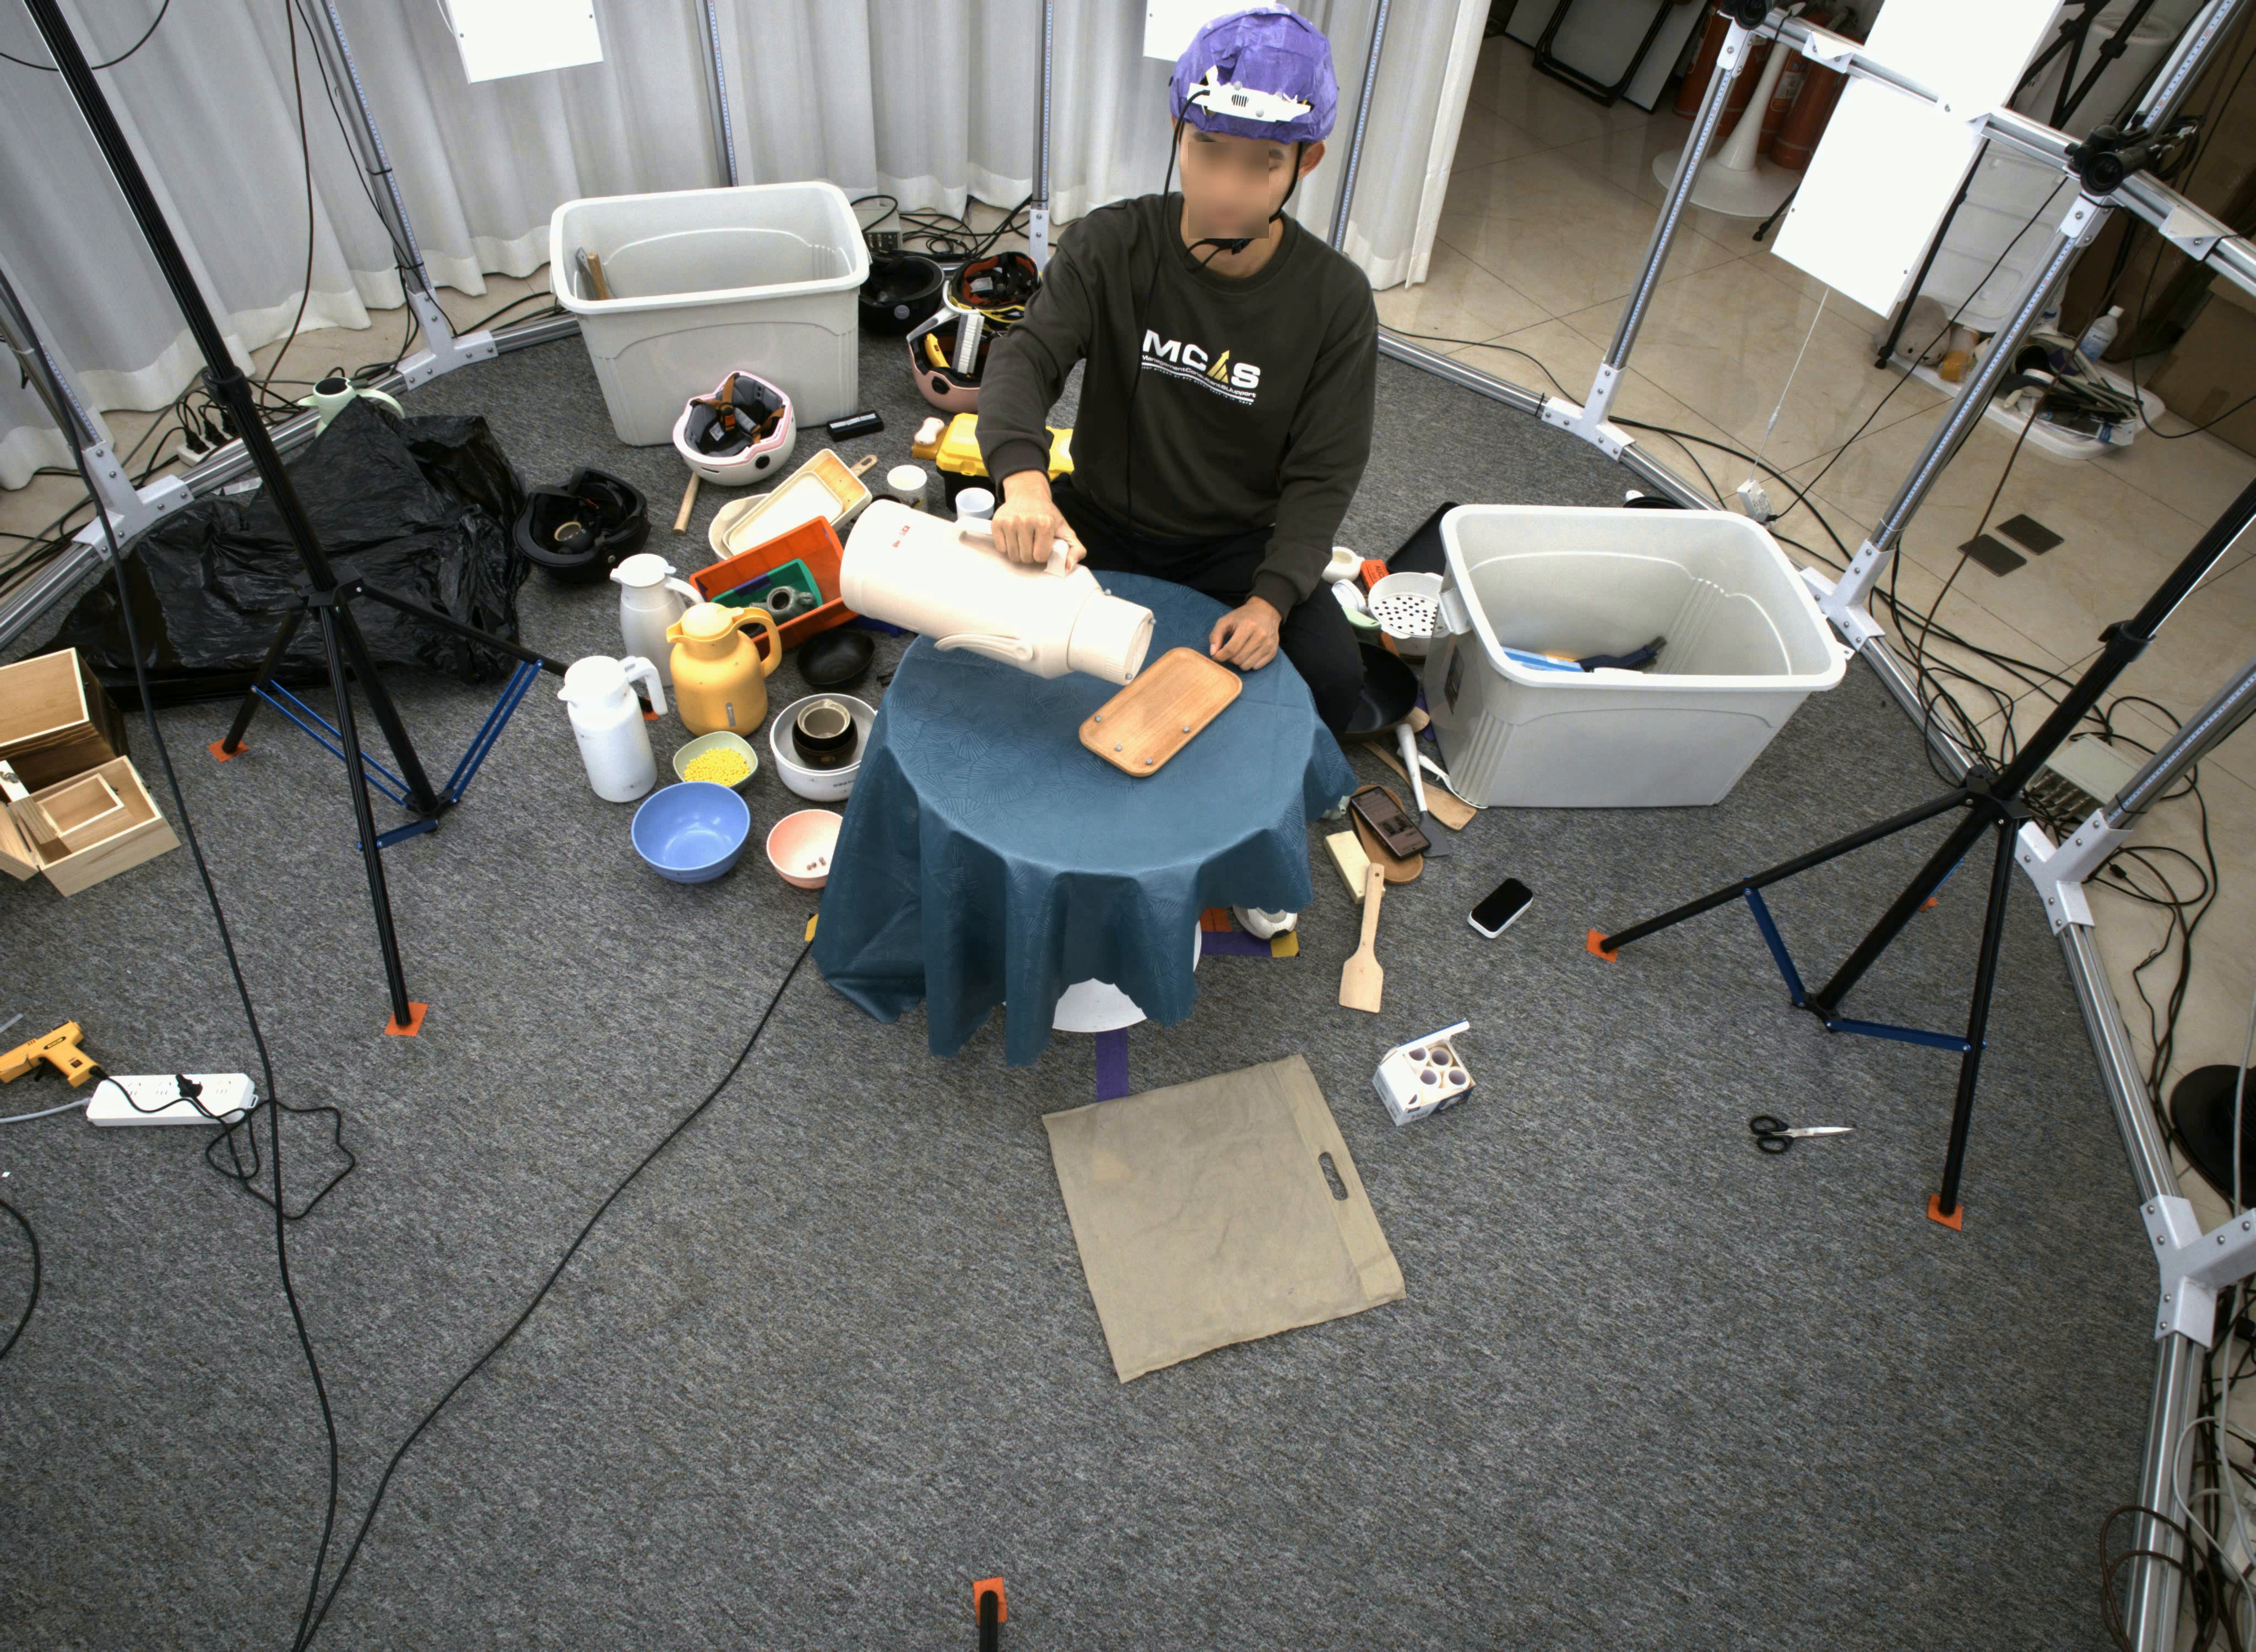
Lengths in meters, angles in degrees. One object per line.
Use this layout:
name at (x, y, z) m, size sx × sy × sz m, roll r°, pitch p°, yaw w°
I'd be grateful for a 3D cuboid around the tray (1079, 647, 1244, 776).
tray at (0.049, -0.163, 1.799) m, size 0.132 × 0.022 × 0.253 m, roll 35°, pitch 54°, yaw 21°

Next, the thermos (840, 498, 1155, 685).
thermos at (-0.167, -0.312, 1.706) m, size 0.409 × 0.202 × 0.178 m, roll 22°, pitch 46°, yaw 14°
